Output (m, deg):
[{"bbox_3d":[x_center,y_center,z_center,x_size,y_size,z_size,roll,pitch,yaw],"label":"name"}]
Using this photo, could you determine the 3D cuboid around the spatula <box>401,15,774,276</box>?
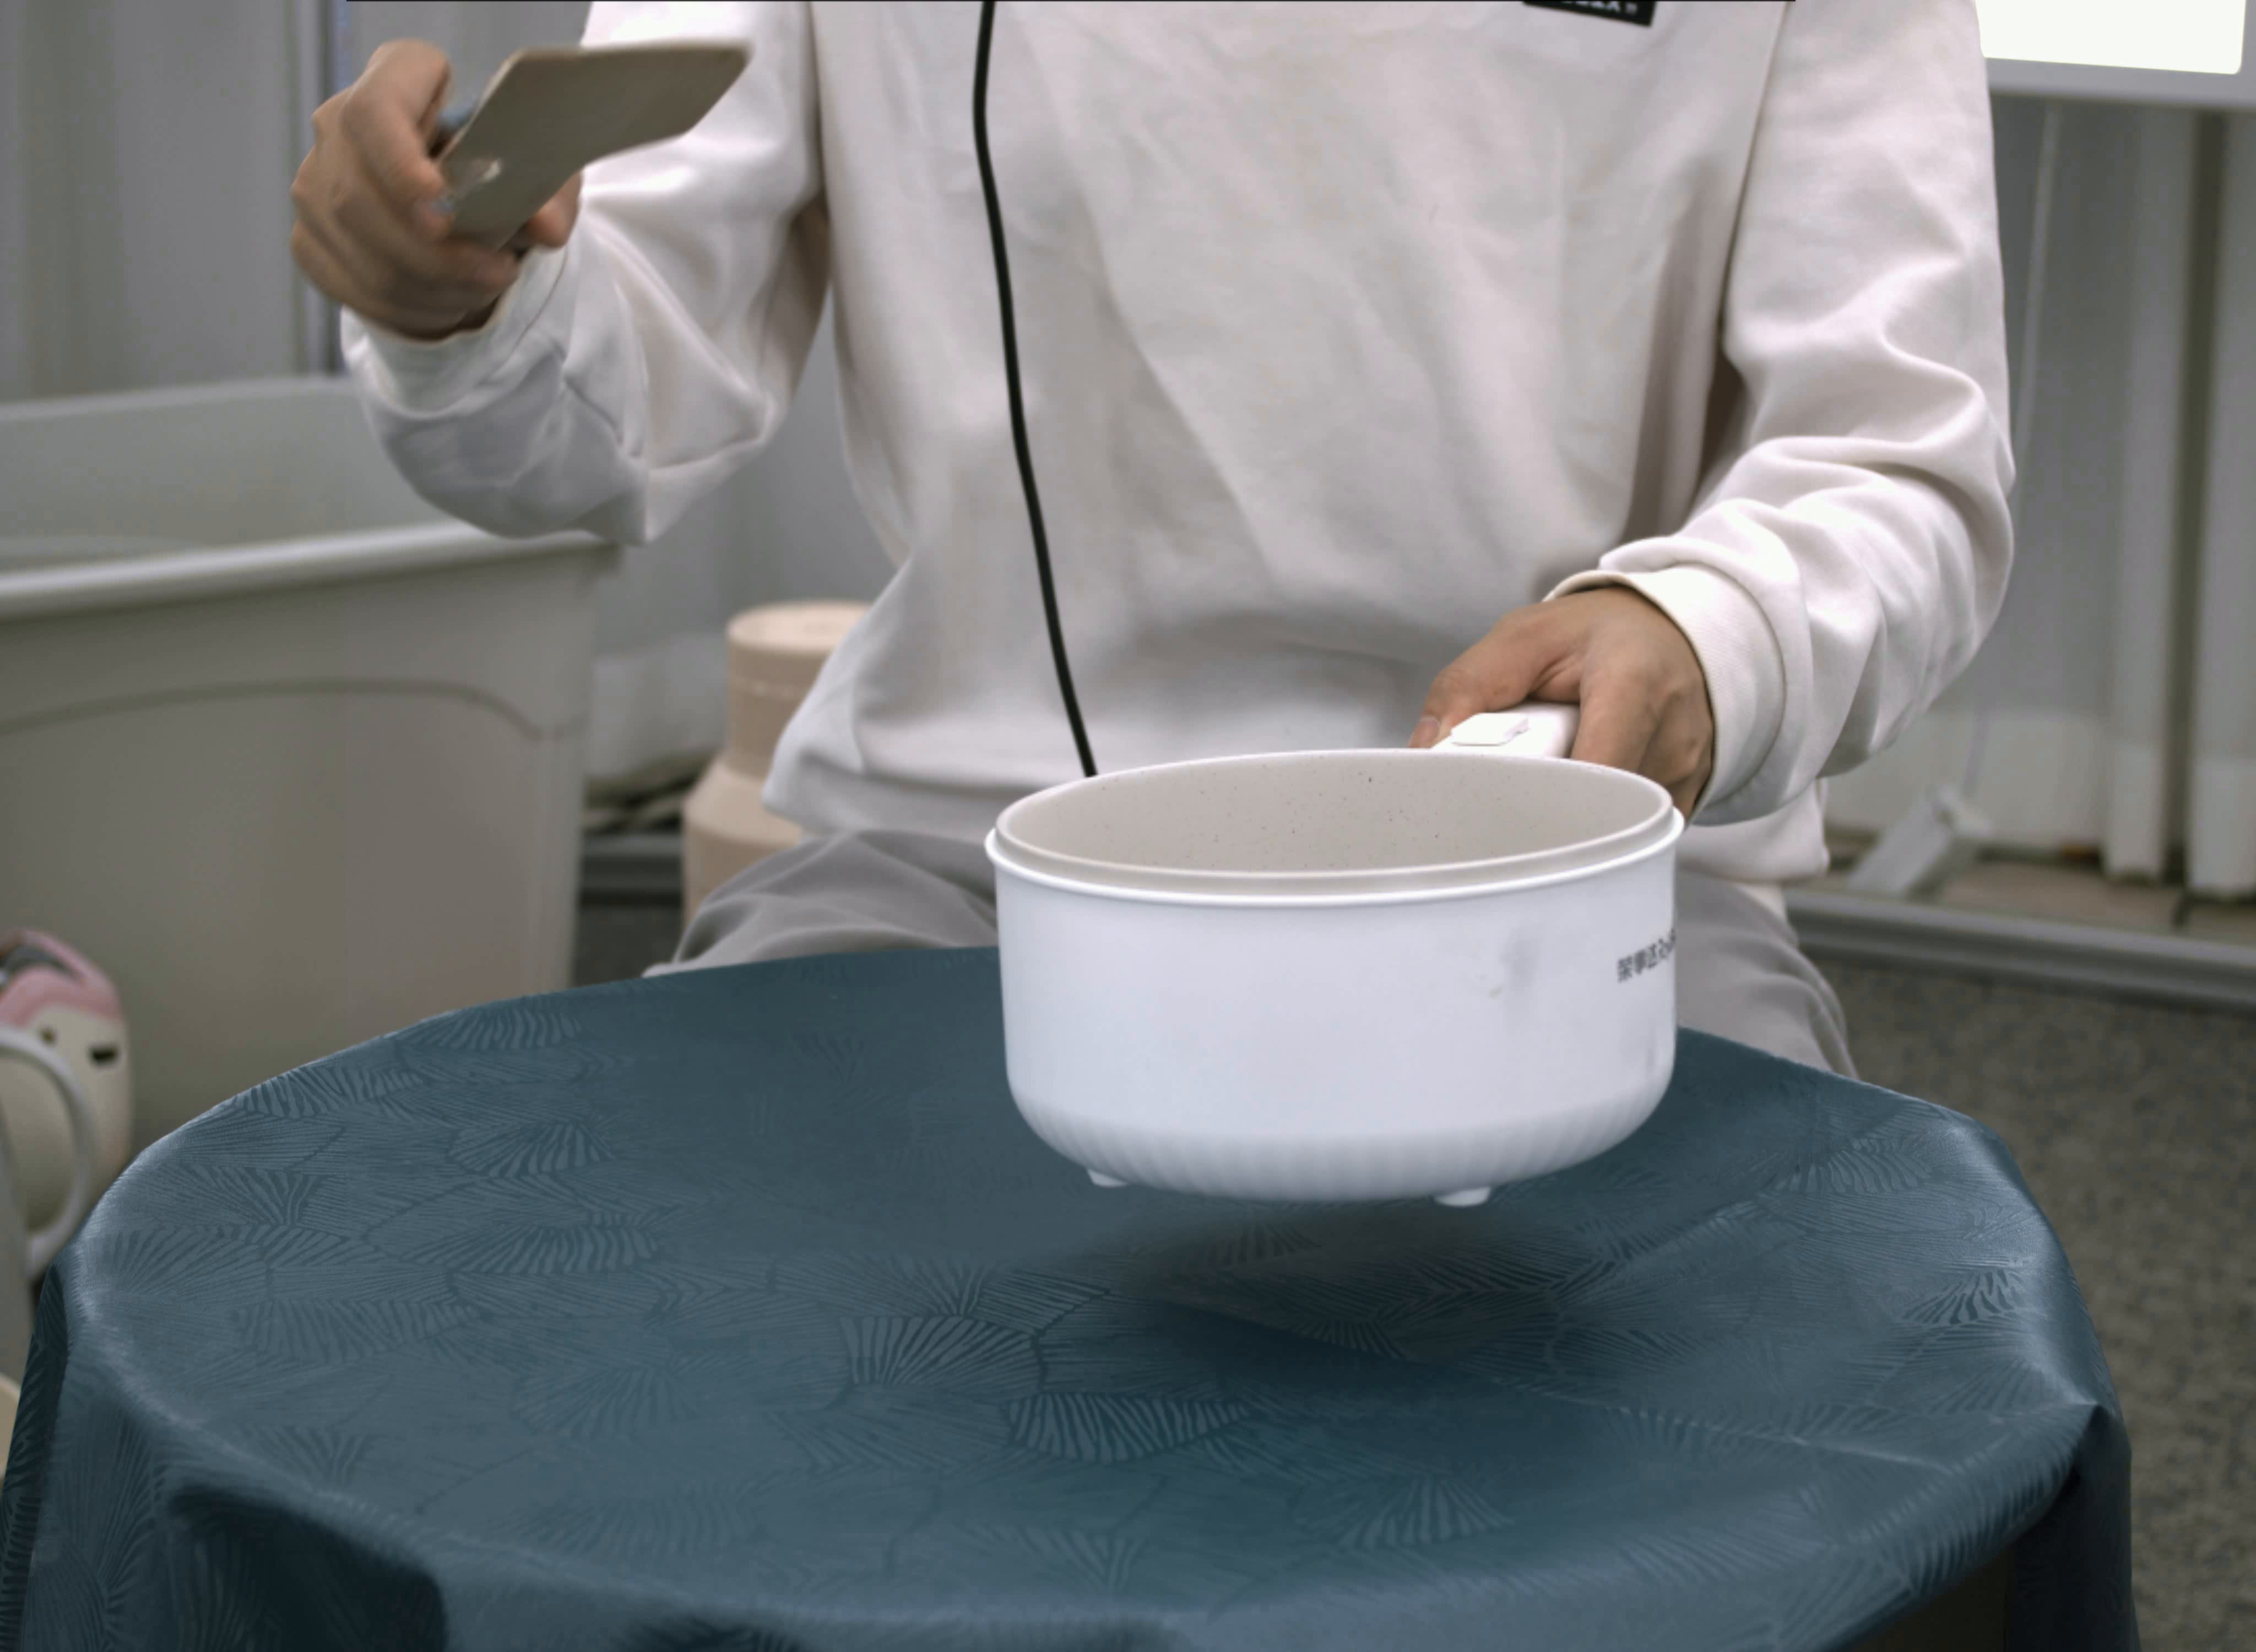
[{"bbox_3d":[-0.178,-0.200,1.580,0.072,0.010,0.292,-6,-5,-20],"label":"spatula"}]

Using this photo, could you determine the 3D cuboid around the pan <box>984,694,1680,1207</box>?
[{"bbox_3d":[0.087,0.033,1.594,0.199,0.103,0.355,0,10,20],"label":"pan"}]
